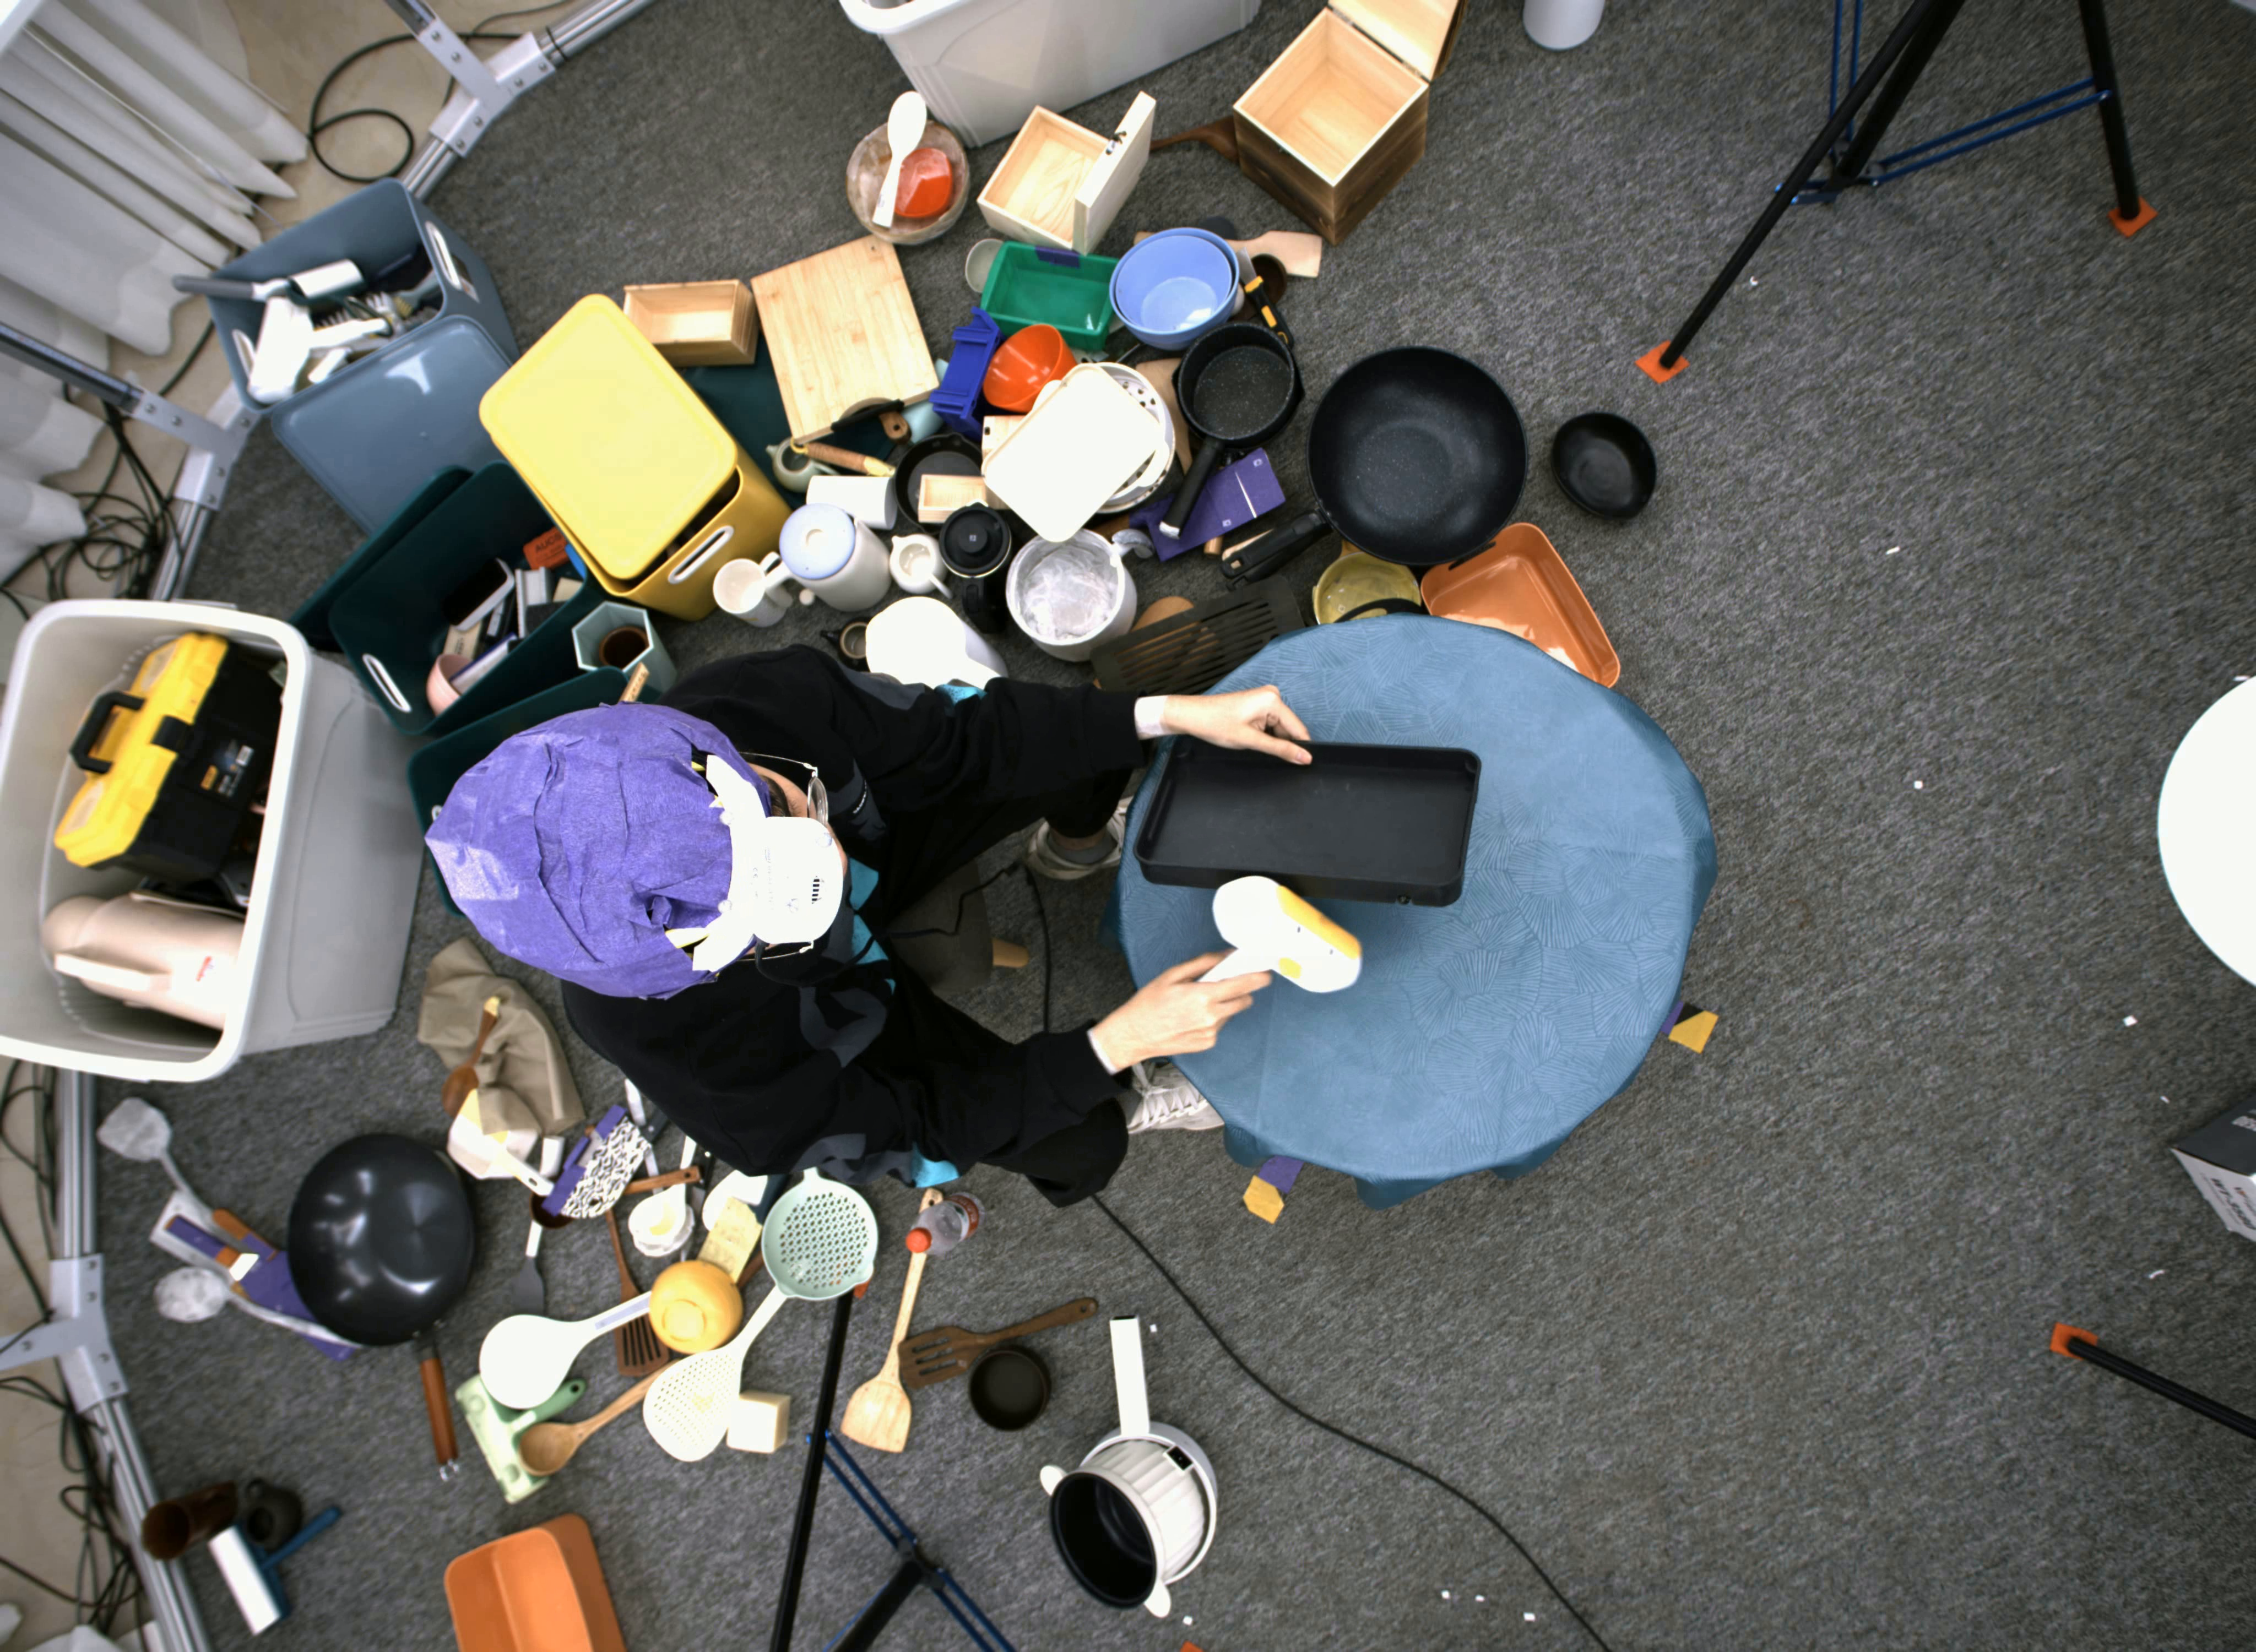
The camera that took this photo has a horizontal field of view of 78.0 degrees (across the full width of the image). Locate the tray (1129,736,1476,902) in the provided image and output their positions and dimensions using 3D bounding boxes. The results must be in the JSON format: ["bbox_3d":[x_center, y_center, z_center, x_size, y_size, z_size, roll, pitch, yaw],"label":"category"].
[{"bbox_3d":[0.172,-0.011,1.348,0.319,0.038,0.179,2,49,19],"label":"tray"}]

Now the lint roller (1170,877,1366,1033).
[{"bbox_3d":[0.115,0.137,1.352,0.196,0.194,0.072,-33,49,32],"label":"lint roller"}]
